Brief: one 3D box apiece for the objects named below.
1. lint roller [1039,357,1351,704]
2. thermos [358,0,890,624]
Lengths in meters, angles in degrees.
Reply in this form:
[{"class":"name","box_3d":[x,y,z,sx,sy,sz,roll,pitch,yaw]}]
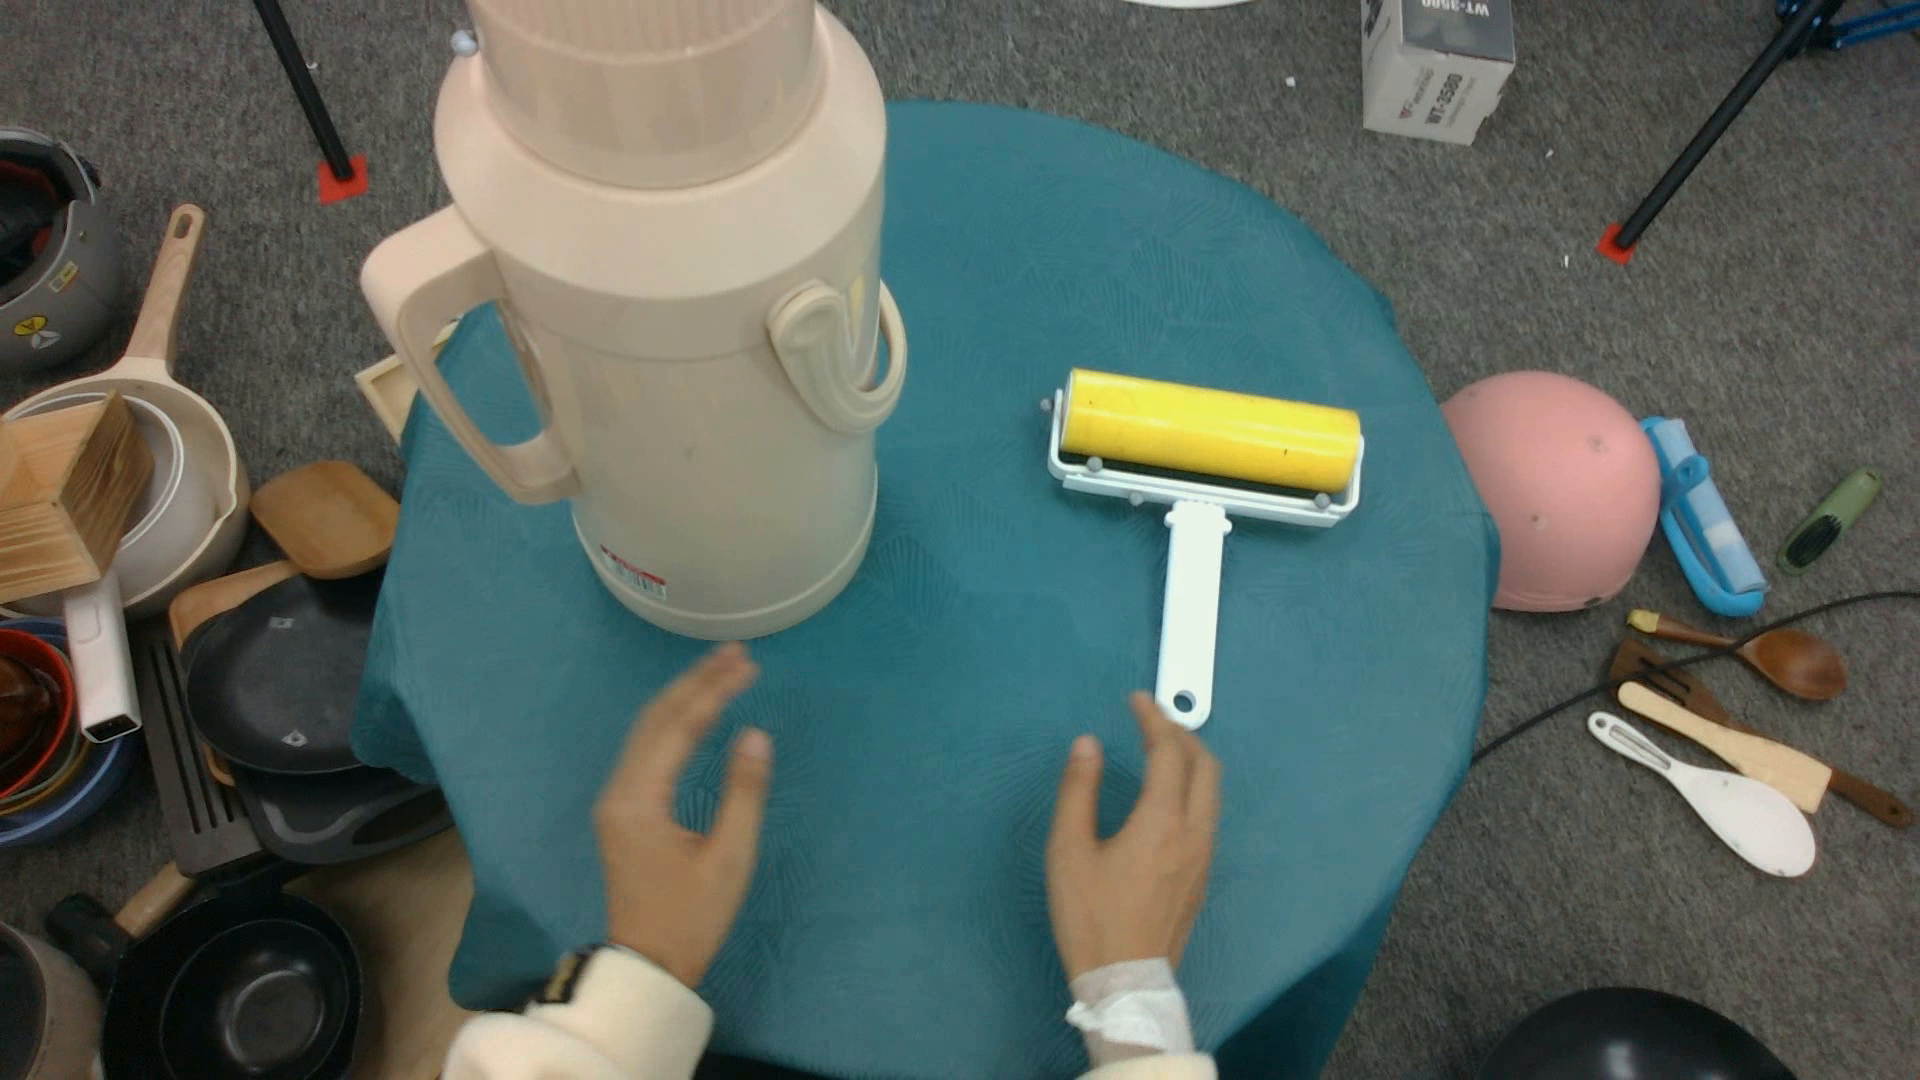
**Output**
[{"class":"lint roller","box_3d":[0.125,-0.008,0.739,0.174,0.051,0.193,8,57,-2]},{"class":"thermos","box_3d":[-0.126,-0.106,0.572,0.207,0.404,0.175,-35,72,-20]}]
